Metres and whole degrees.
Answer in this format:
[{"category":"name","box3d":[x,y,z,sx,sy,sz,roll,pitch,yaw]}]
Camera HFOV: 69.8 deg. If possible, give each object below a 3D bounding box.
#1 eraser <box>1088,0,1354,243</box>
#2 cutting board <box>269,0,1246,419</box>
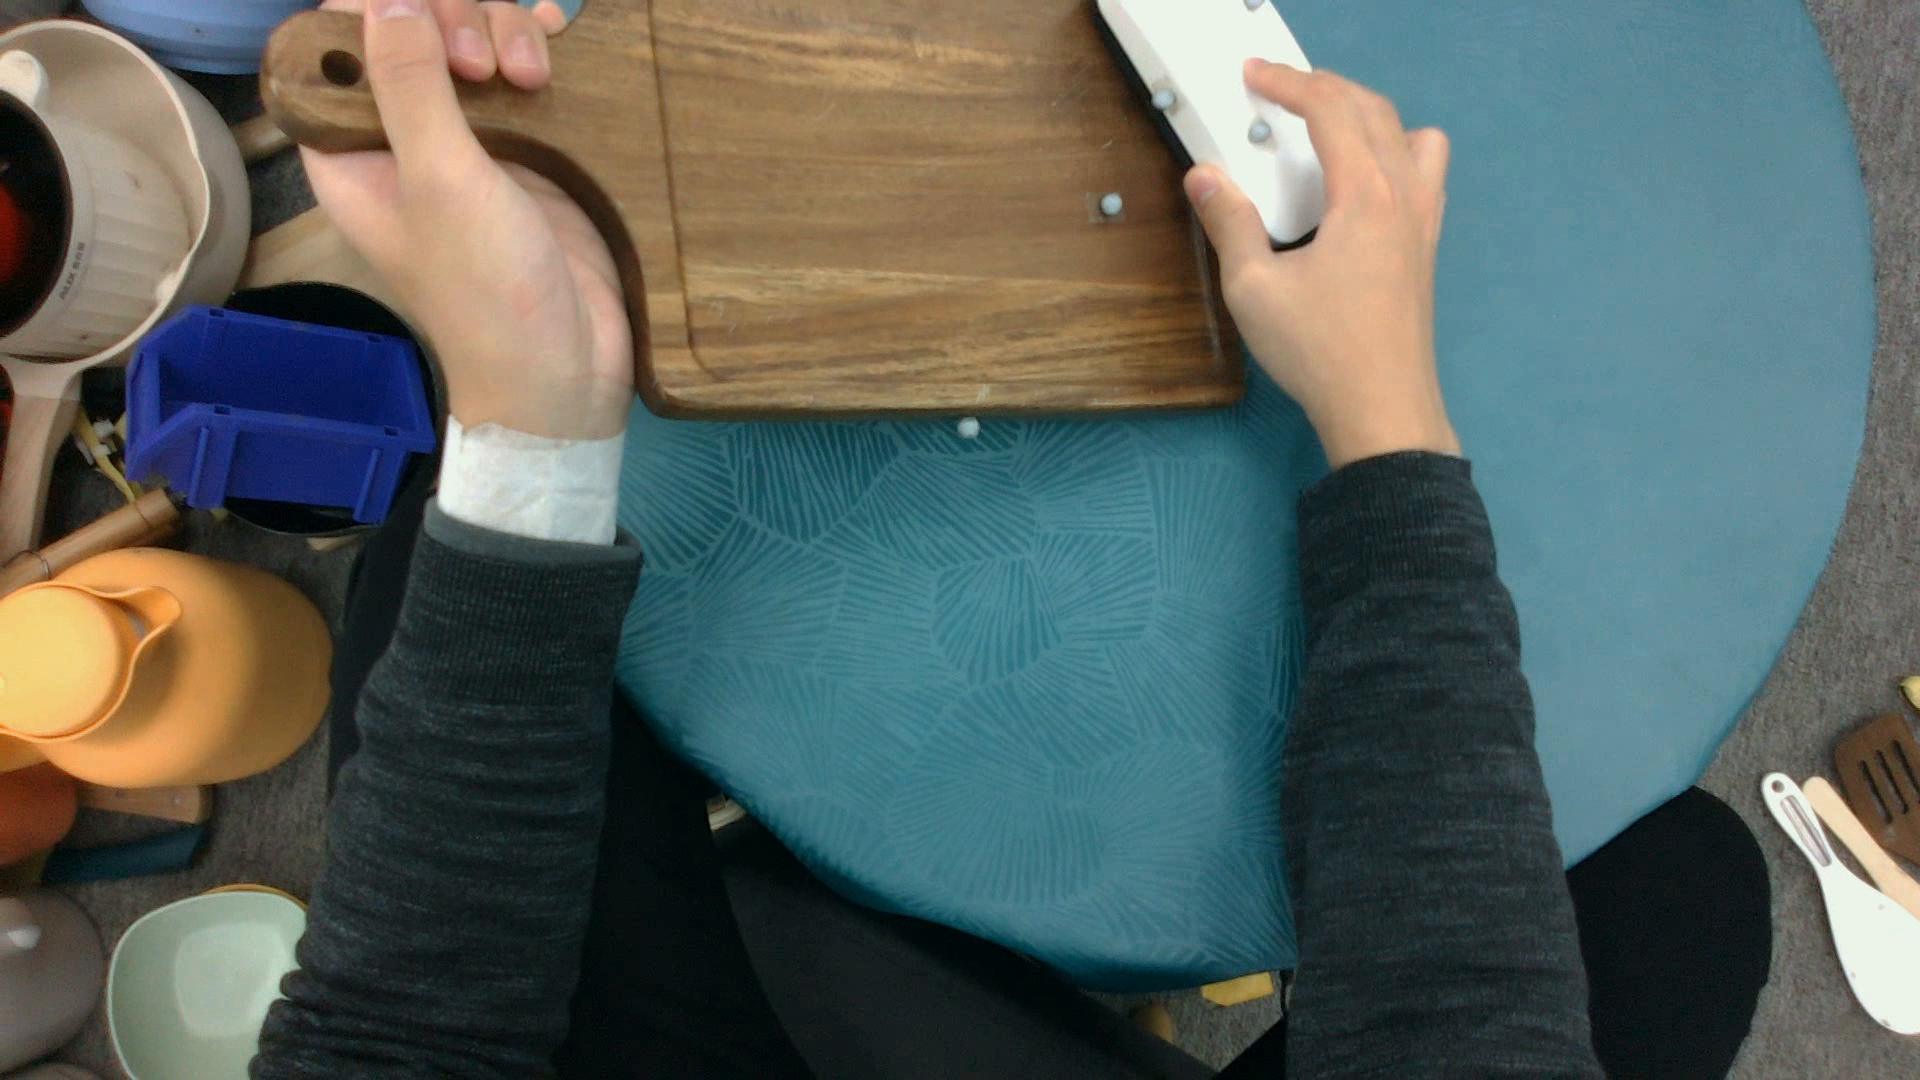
[{"category":"eraser","box3d":[0.106,-0.186,0.561,0.063,0.034,0.131,-35,95,-25]},{"category":"cutting board","box3d":[-0.048,-0.143,0.486,0.353,0.023,0.201,-5,82,-32]}]
